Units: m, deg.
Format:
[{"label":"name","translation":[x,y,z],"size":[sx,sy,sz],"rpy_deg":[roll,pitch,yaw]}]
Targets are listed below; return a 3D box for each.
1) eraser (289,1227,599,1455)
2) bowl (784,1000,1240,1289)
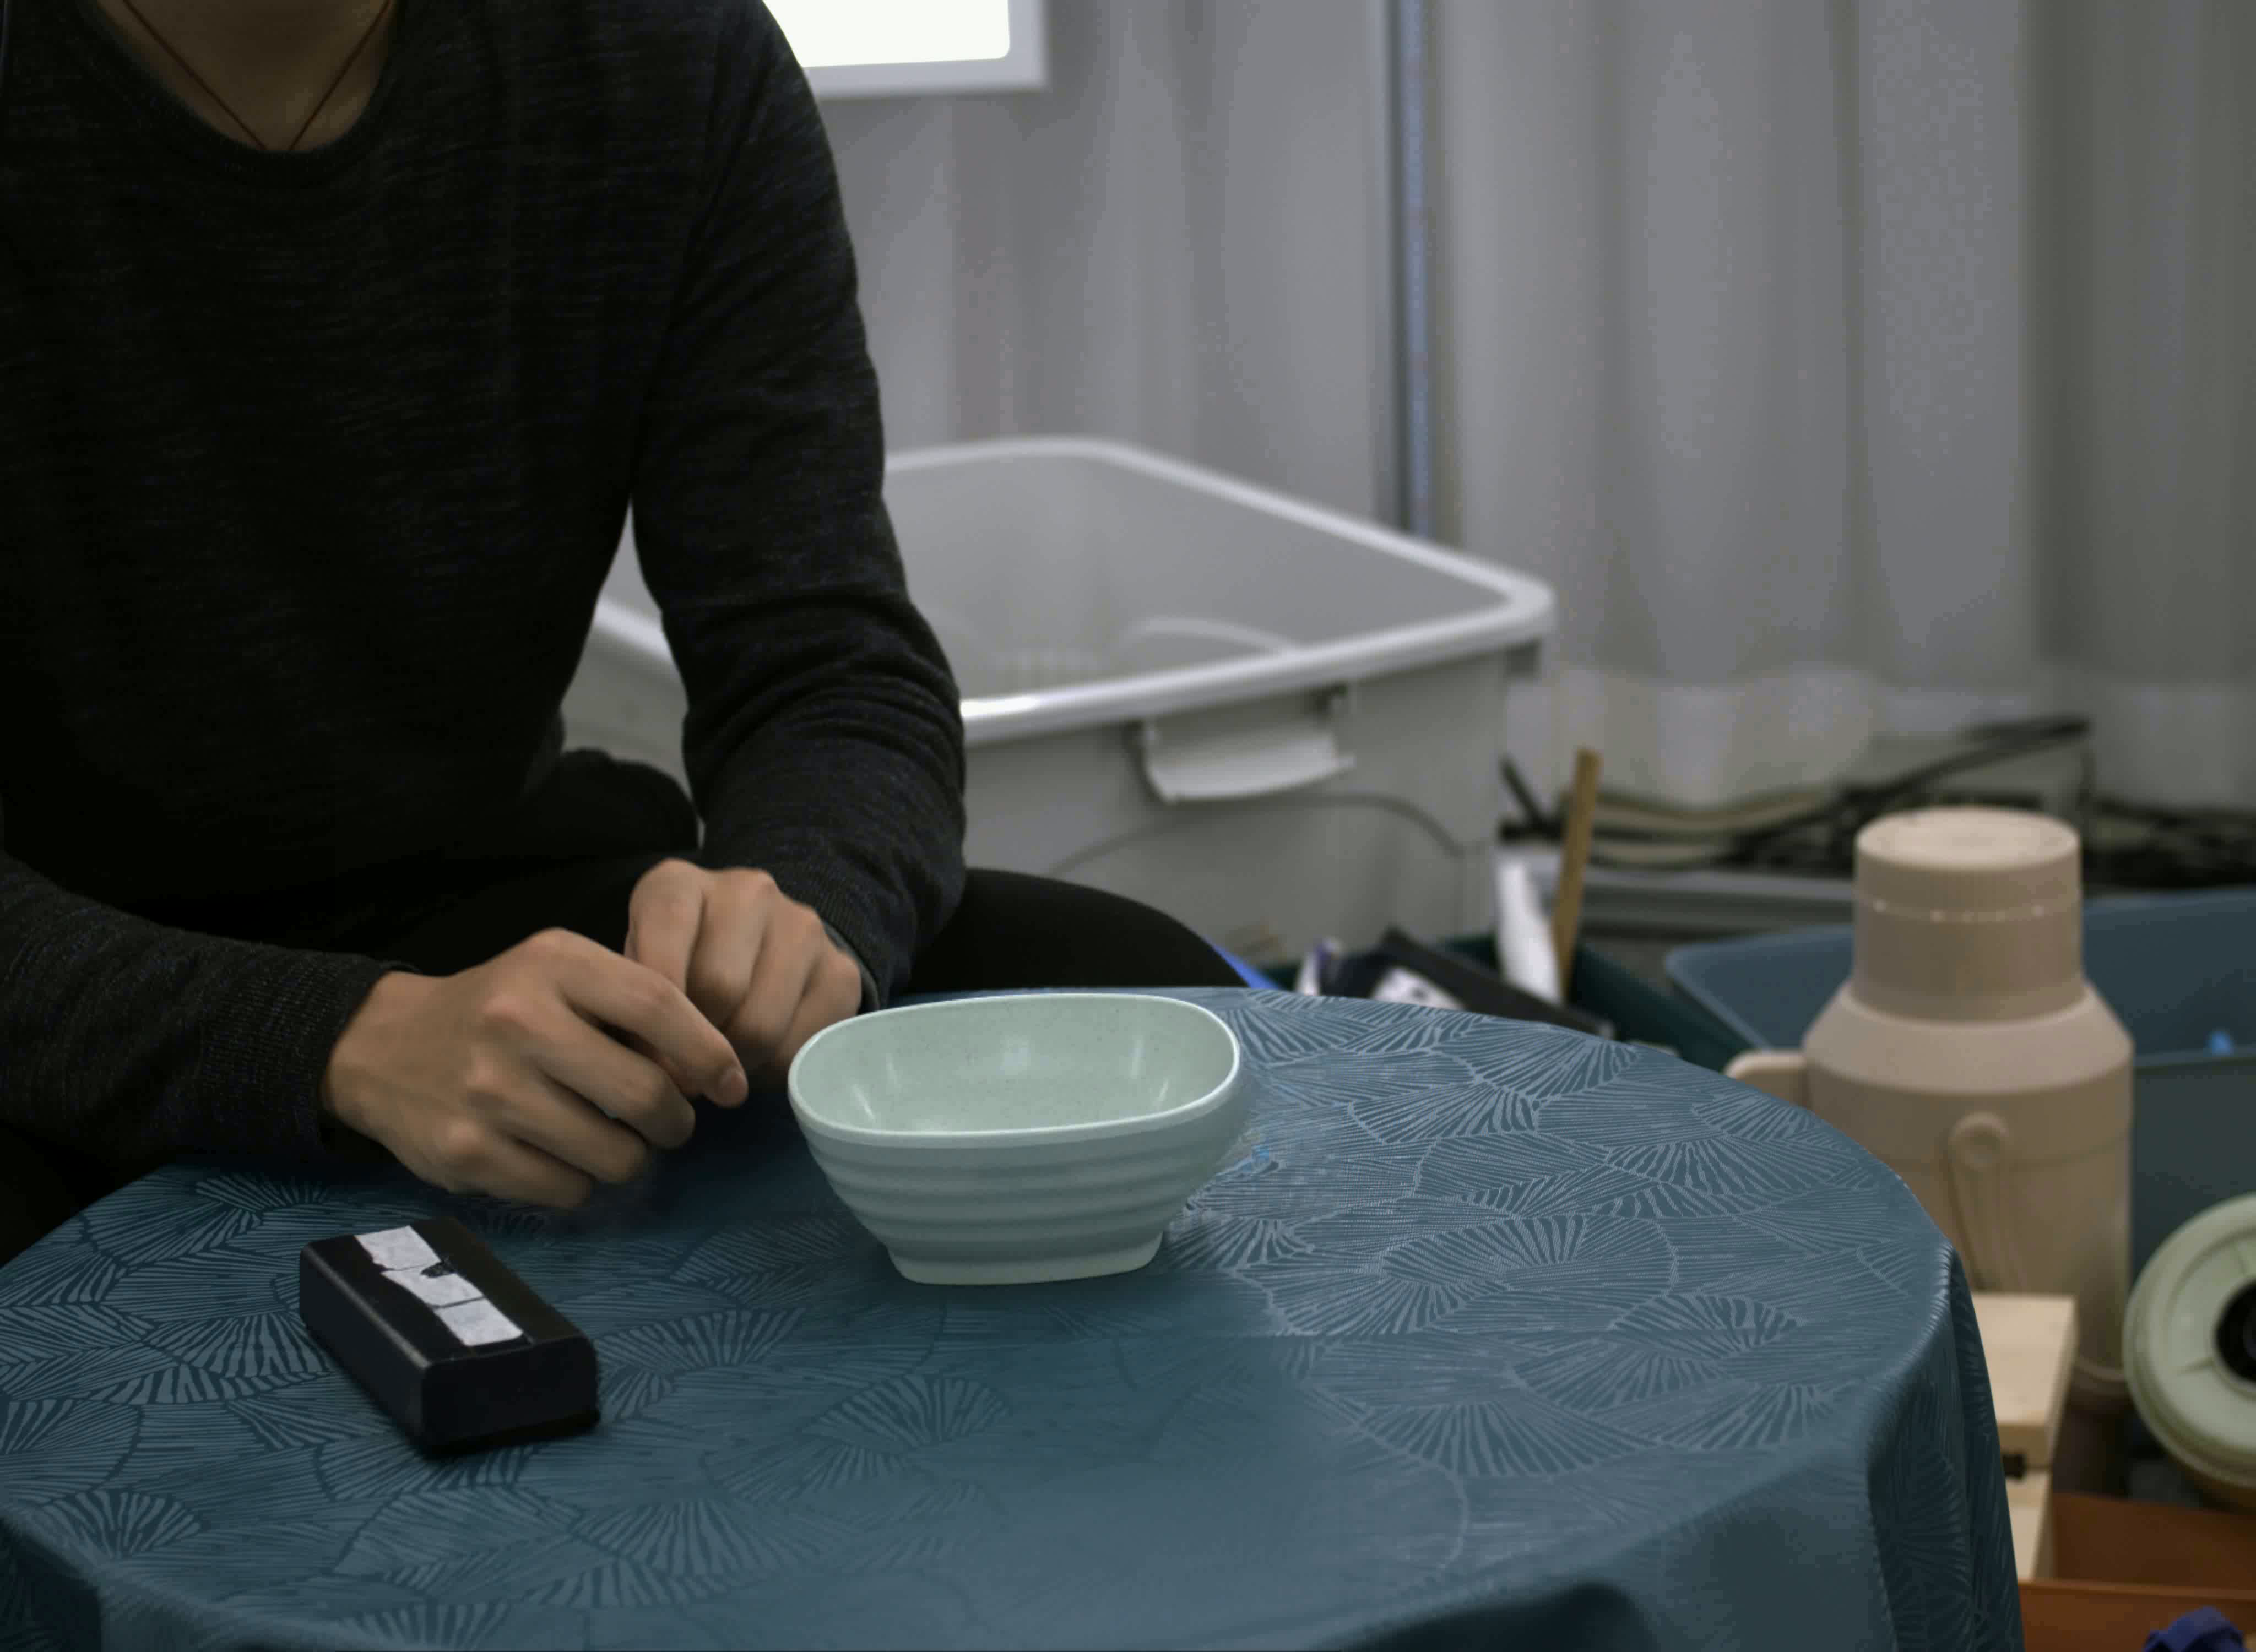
[{"label":"eraser","translation":[-0.197,0.147,1.574],"size":[0.053,0.030,0.126],"rpy_deg":[-7,14,-25]},{"label":"bowl","translation":[-0.035,0.100,1.669],"size":[0.151,0.058,0.152],"rpy_deg":[-1,14,0]}]
